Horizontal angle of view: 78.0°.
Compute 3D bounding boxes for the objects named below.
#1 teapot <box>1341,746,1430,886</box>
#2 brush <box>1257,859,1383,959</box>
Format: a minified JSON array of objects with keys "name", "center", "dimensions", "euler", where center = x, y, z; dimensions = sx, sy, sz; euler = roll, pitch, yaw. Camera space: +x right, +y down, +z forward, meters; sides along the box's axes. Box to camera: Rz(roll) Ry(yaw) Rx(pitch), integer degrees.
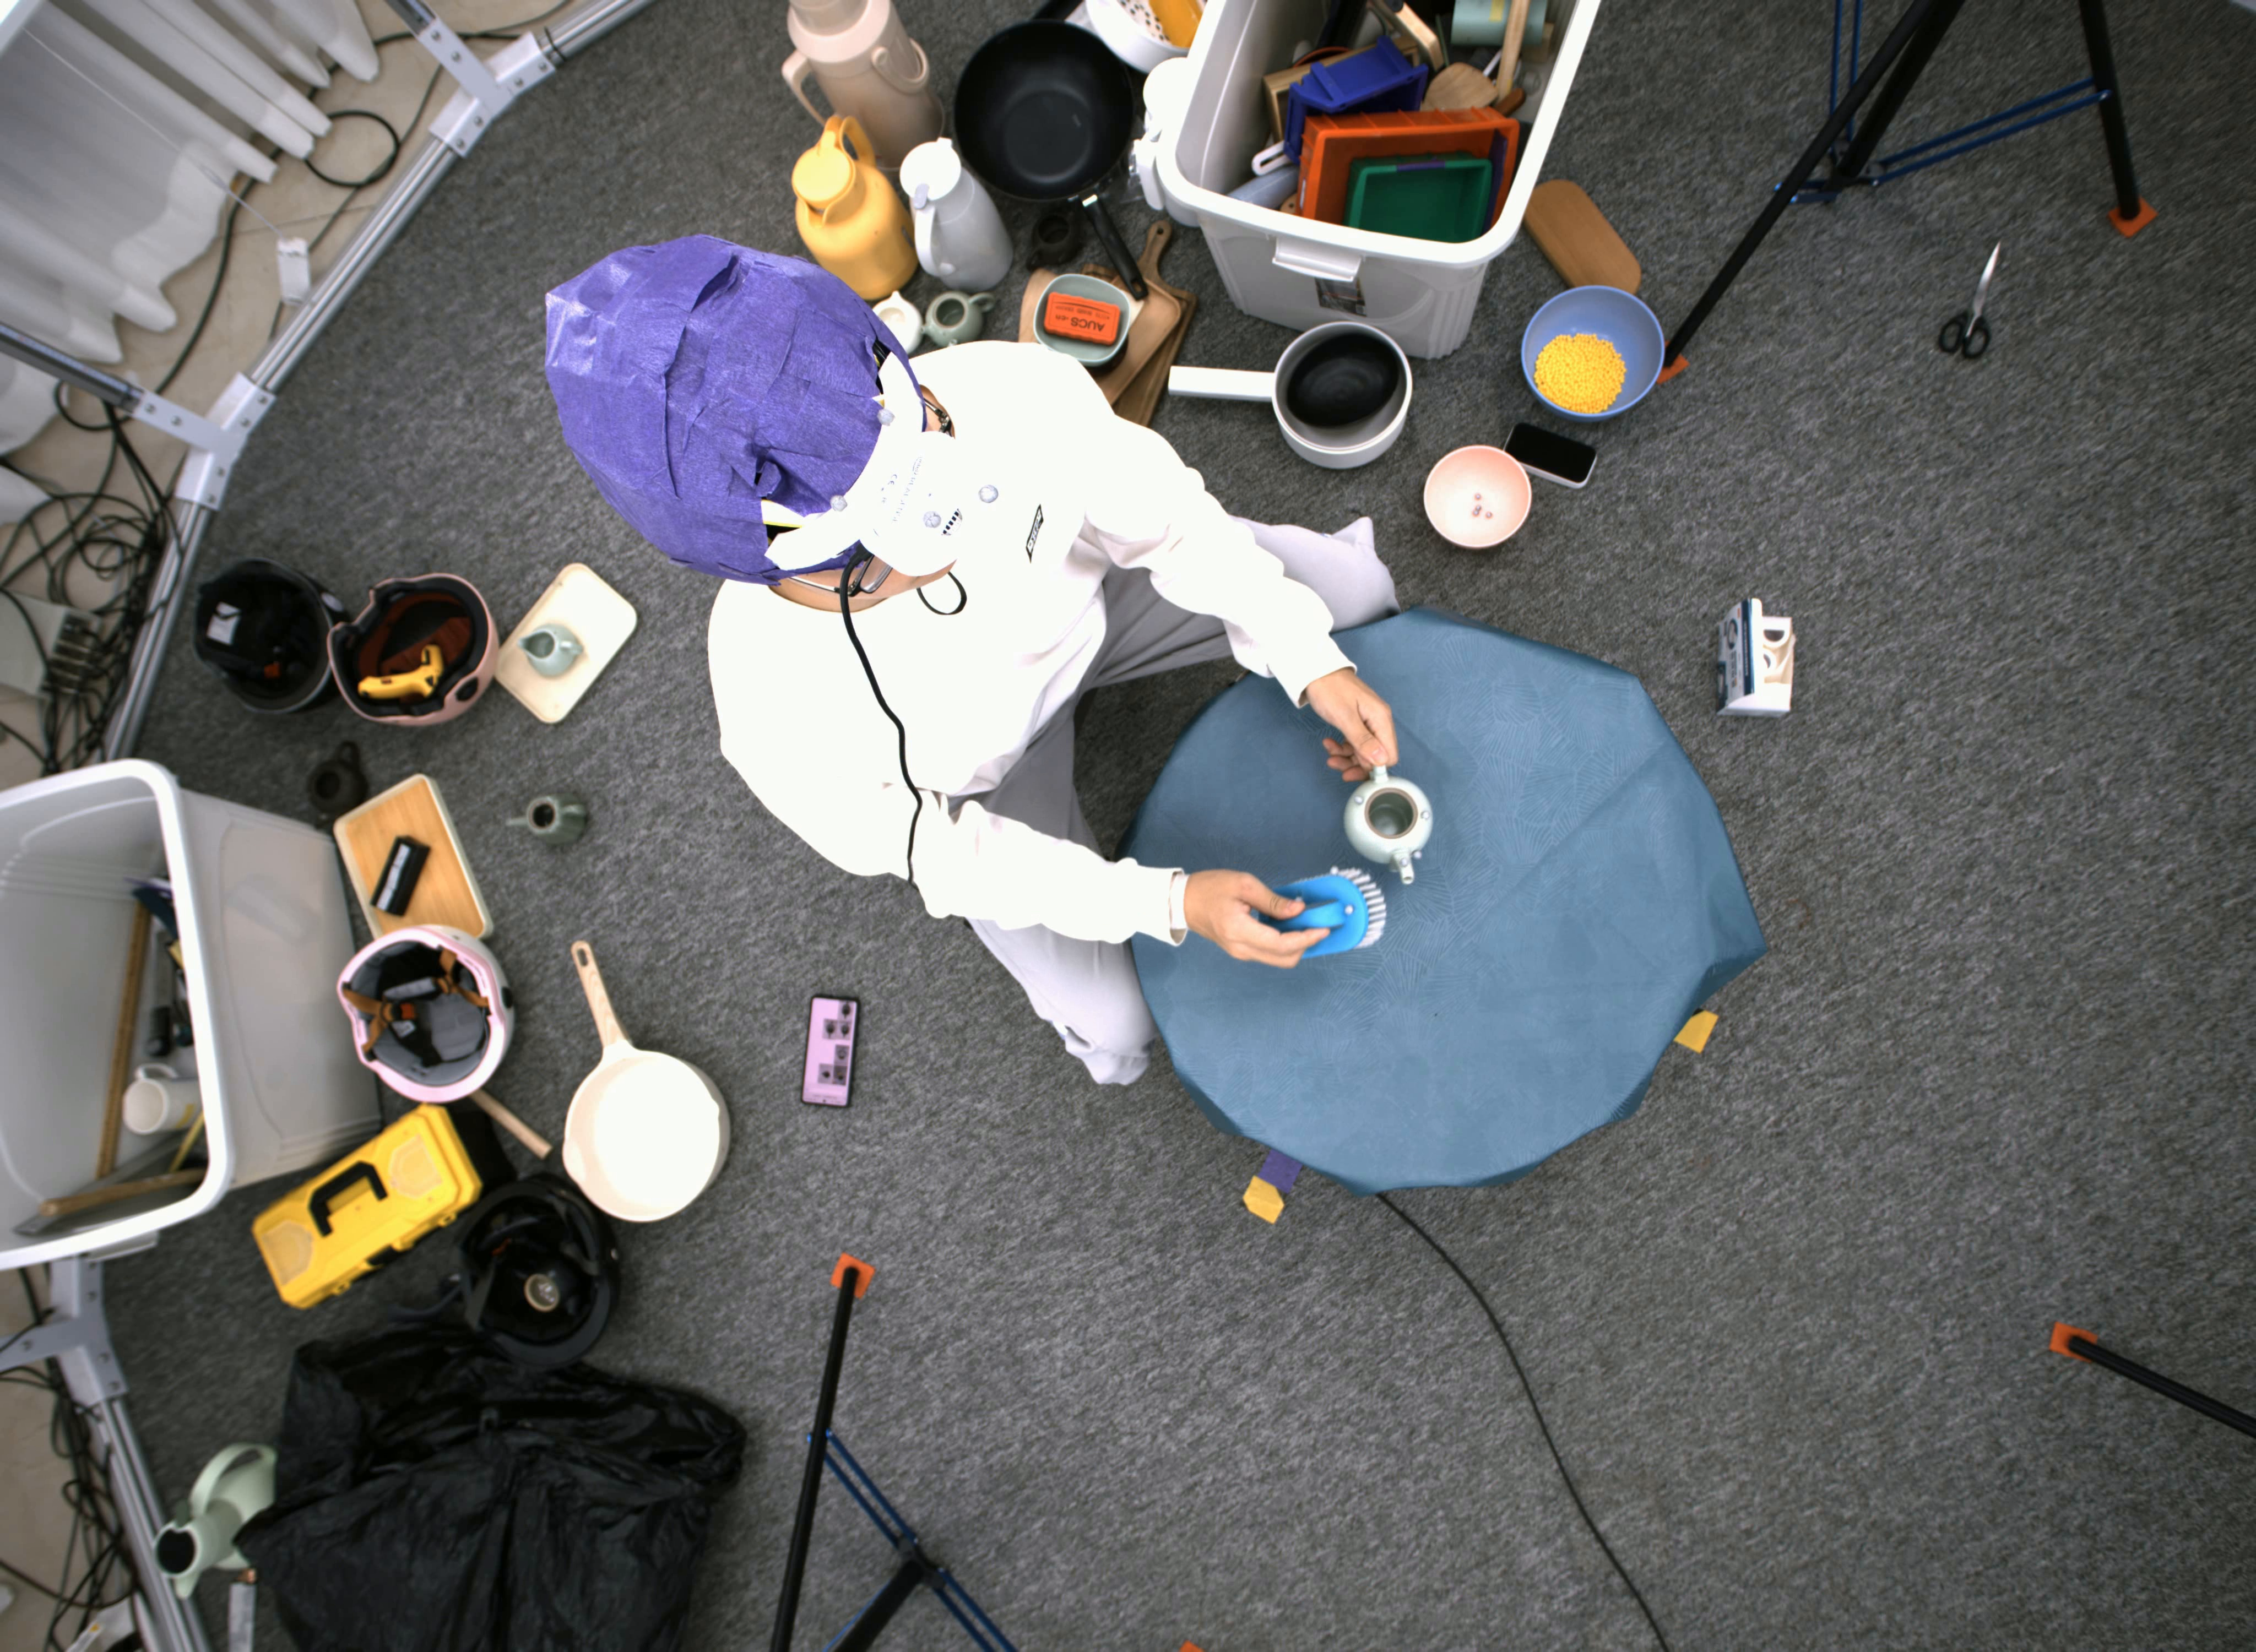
[{"name":"teapot","center":[0.258,-0.008,1.378],"dimensions":[0.088,0.075,0.143],"euler":[-11,83,5]},{"name":"brush","center":[0.174,0.085,1.327],"dimensions":[0.144,0.063,0.084],"euler":[-17,93,51]}]
